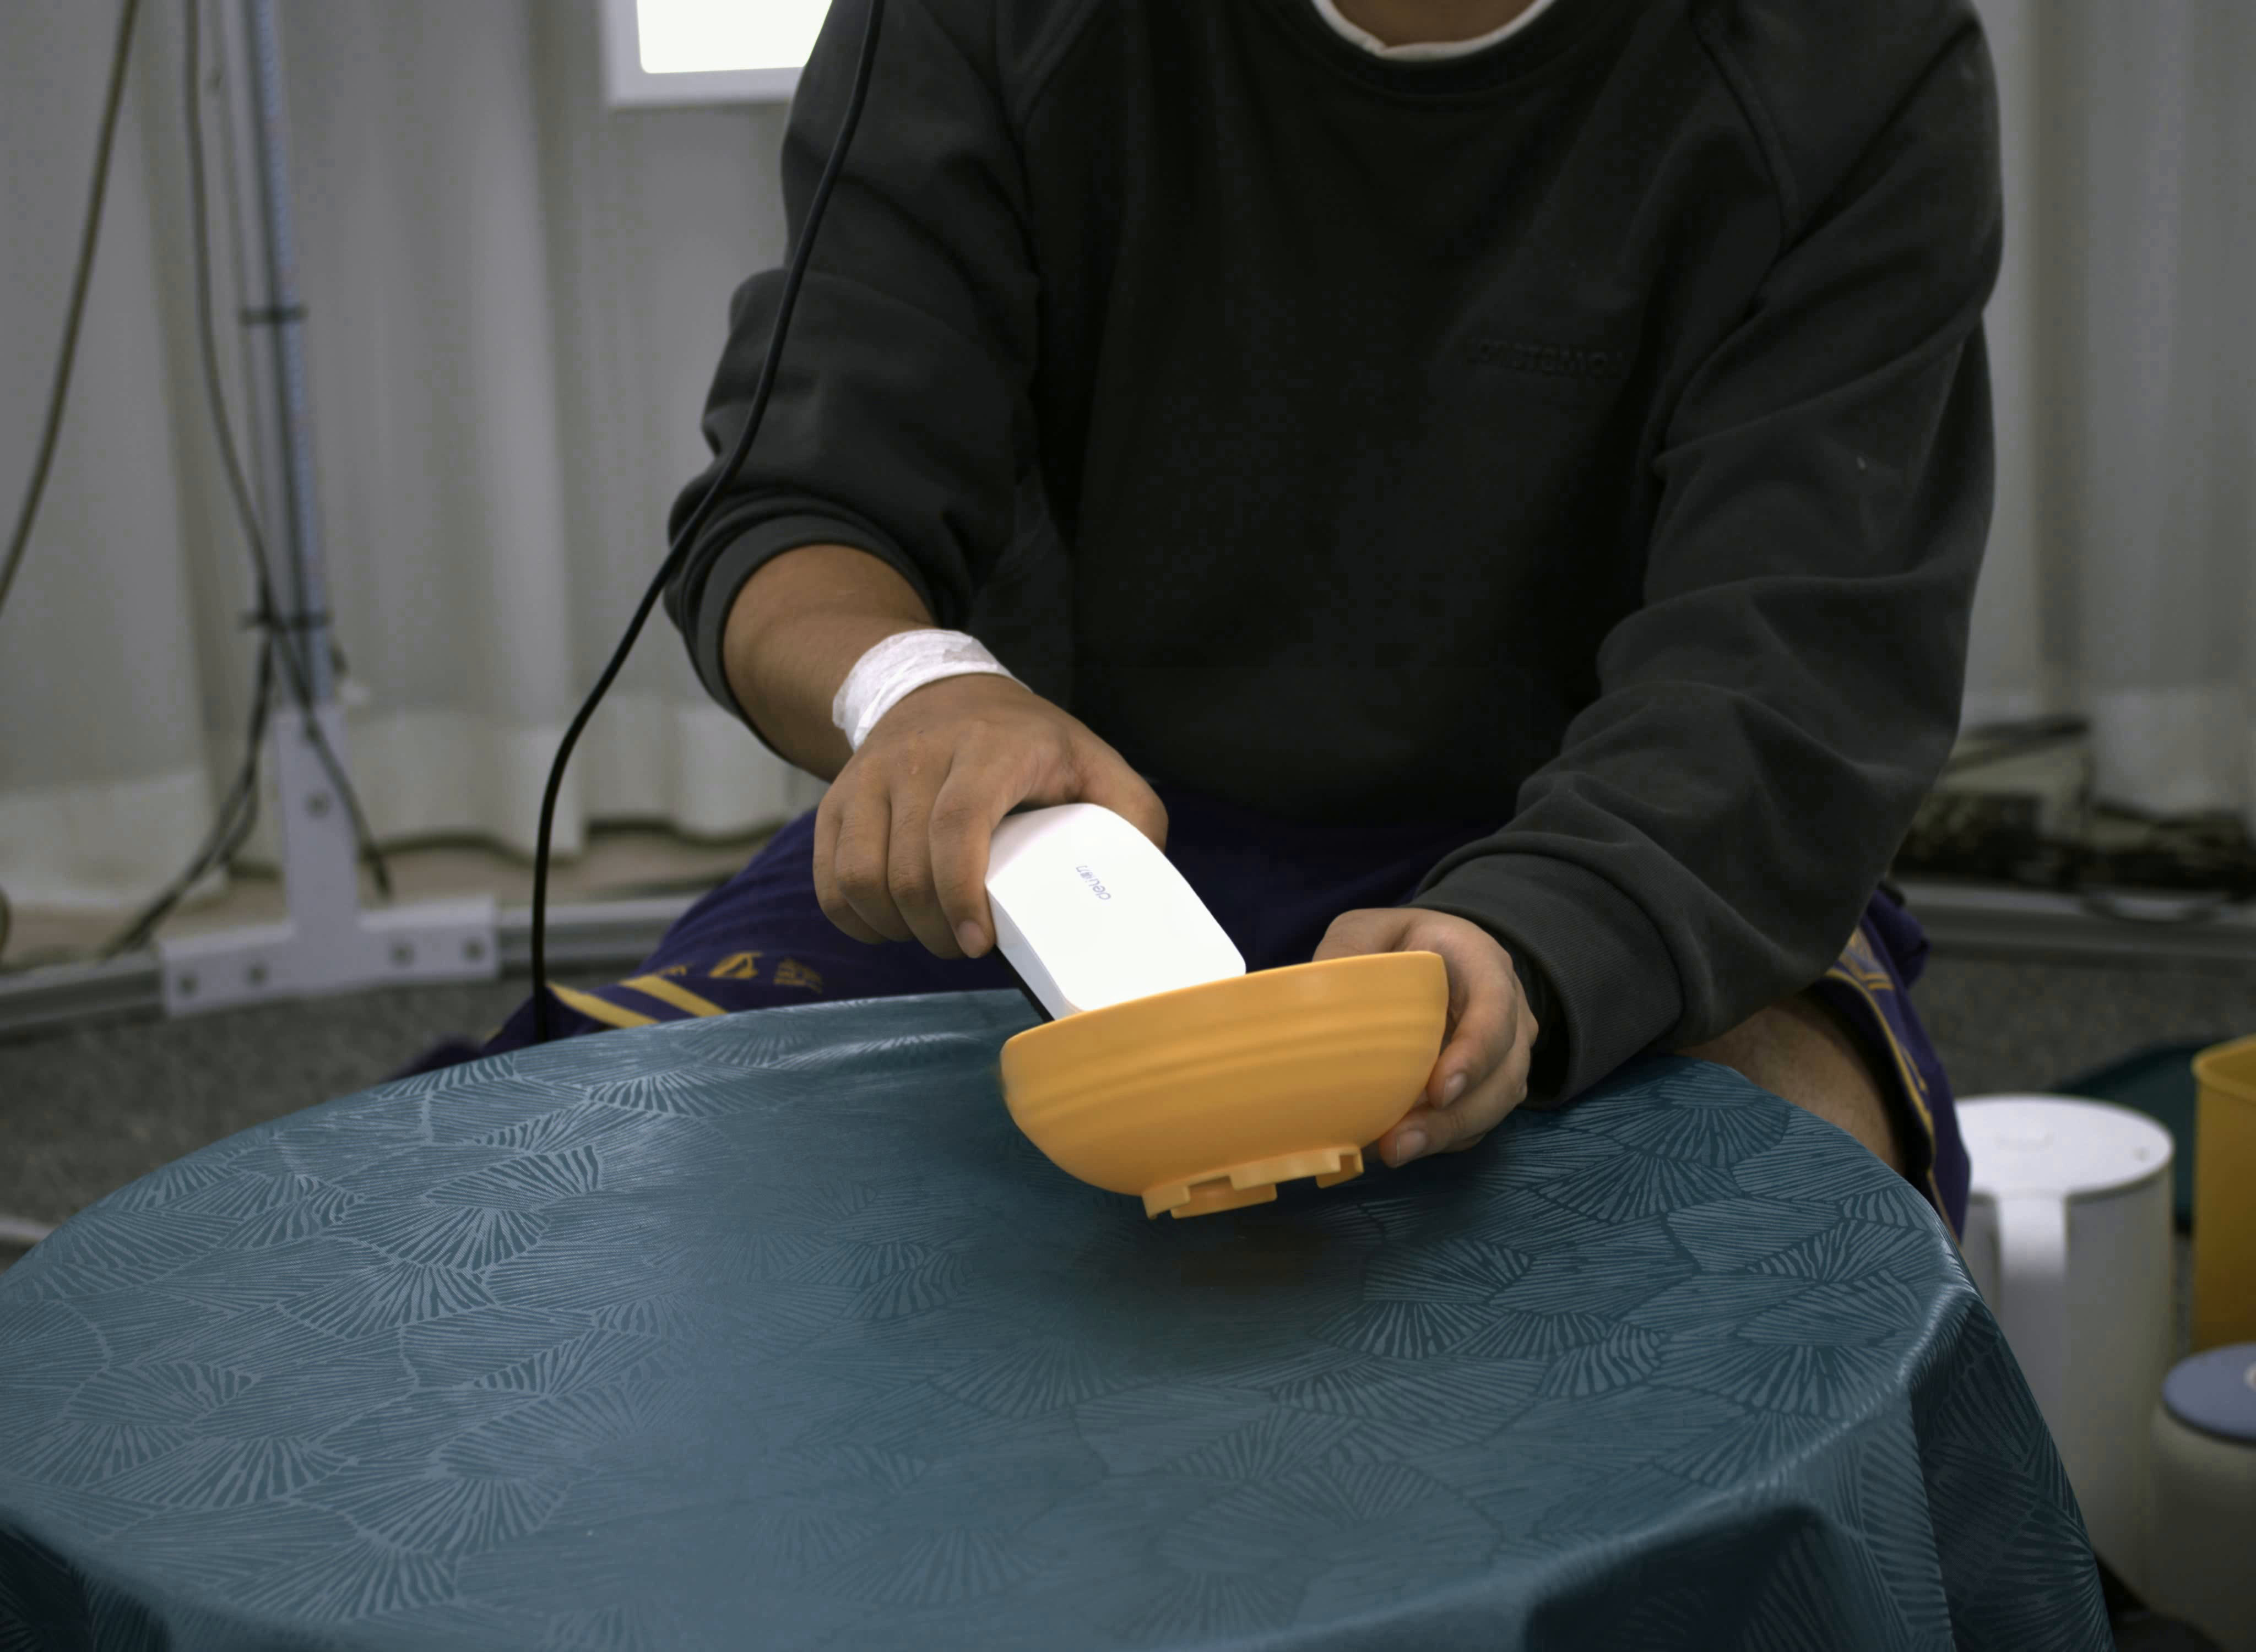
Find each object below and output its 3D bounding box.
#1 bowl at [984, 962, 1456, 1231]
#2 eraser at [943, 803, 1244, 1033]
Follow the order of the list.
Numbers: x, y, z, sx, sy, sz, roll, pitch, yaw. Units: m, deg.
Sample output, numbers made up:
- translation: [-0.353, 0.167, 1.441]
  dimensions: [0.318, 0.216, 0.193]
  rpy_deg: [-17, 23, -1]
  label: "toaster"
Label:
- translation: [0.033, 0.085, 1.638]
  dimensions: [0.145, 0.060, 0.144]
  rpy_deg: [-10, -11, -2]
  label: "bowl"
- translation: [-0.011, 0.031, 1.740]
  dimensions: [0.063, 0.034, 0.133]
  rpy_deg: [-10, 31, -19]
  label: "eraser"
